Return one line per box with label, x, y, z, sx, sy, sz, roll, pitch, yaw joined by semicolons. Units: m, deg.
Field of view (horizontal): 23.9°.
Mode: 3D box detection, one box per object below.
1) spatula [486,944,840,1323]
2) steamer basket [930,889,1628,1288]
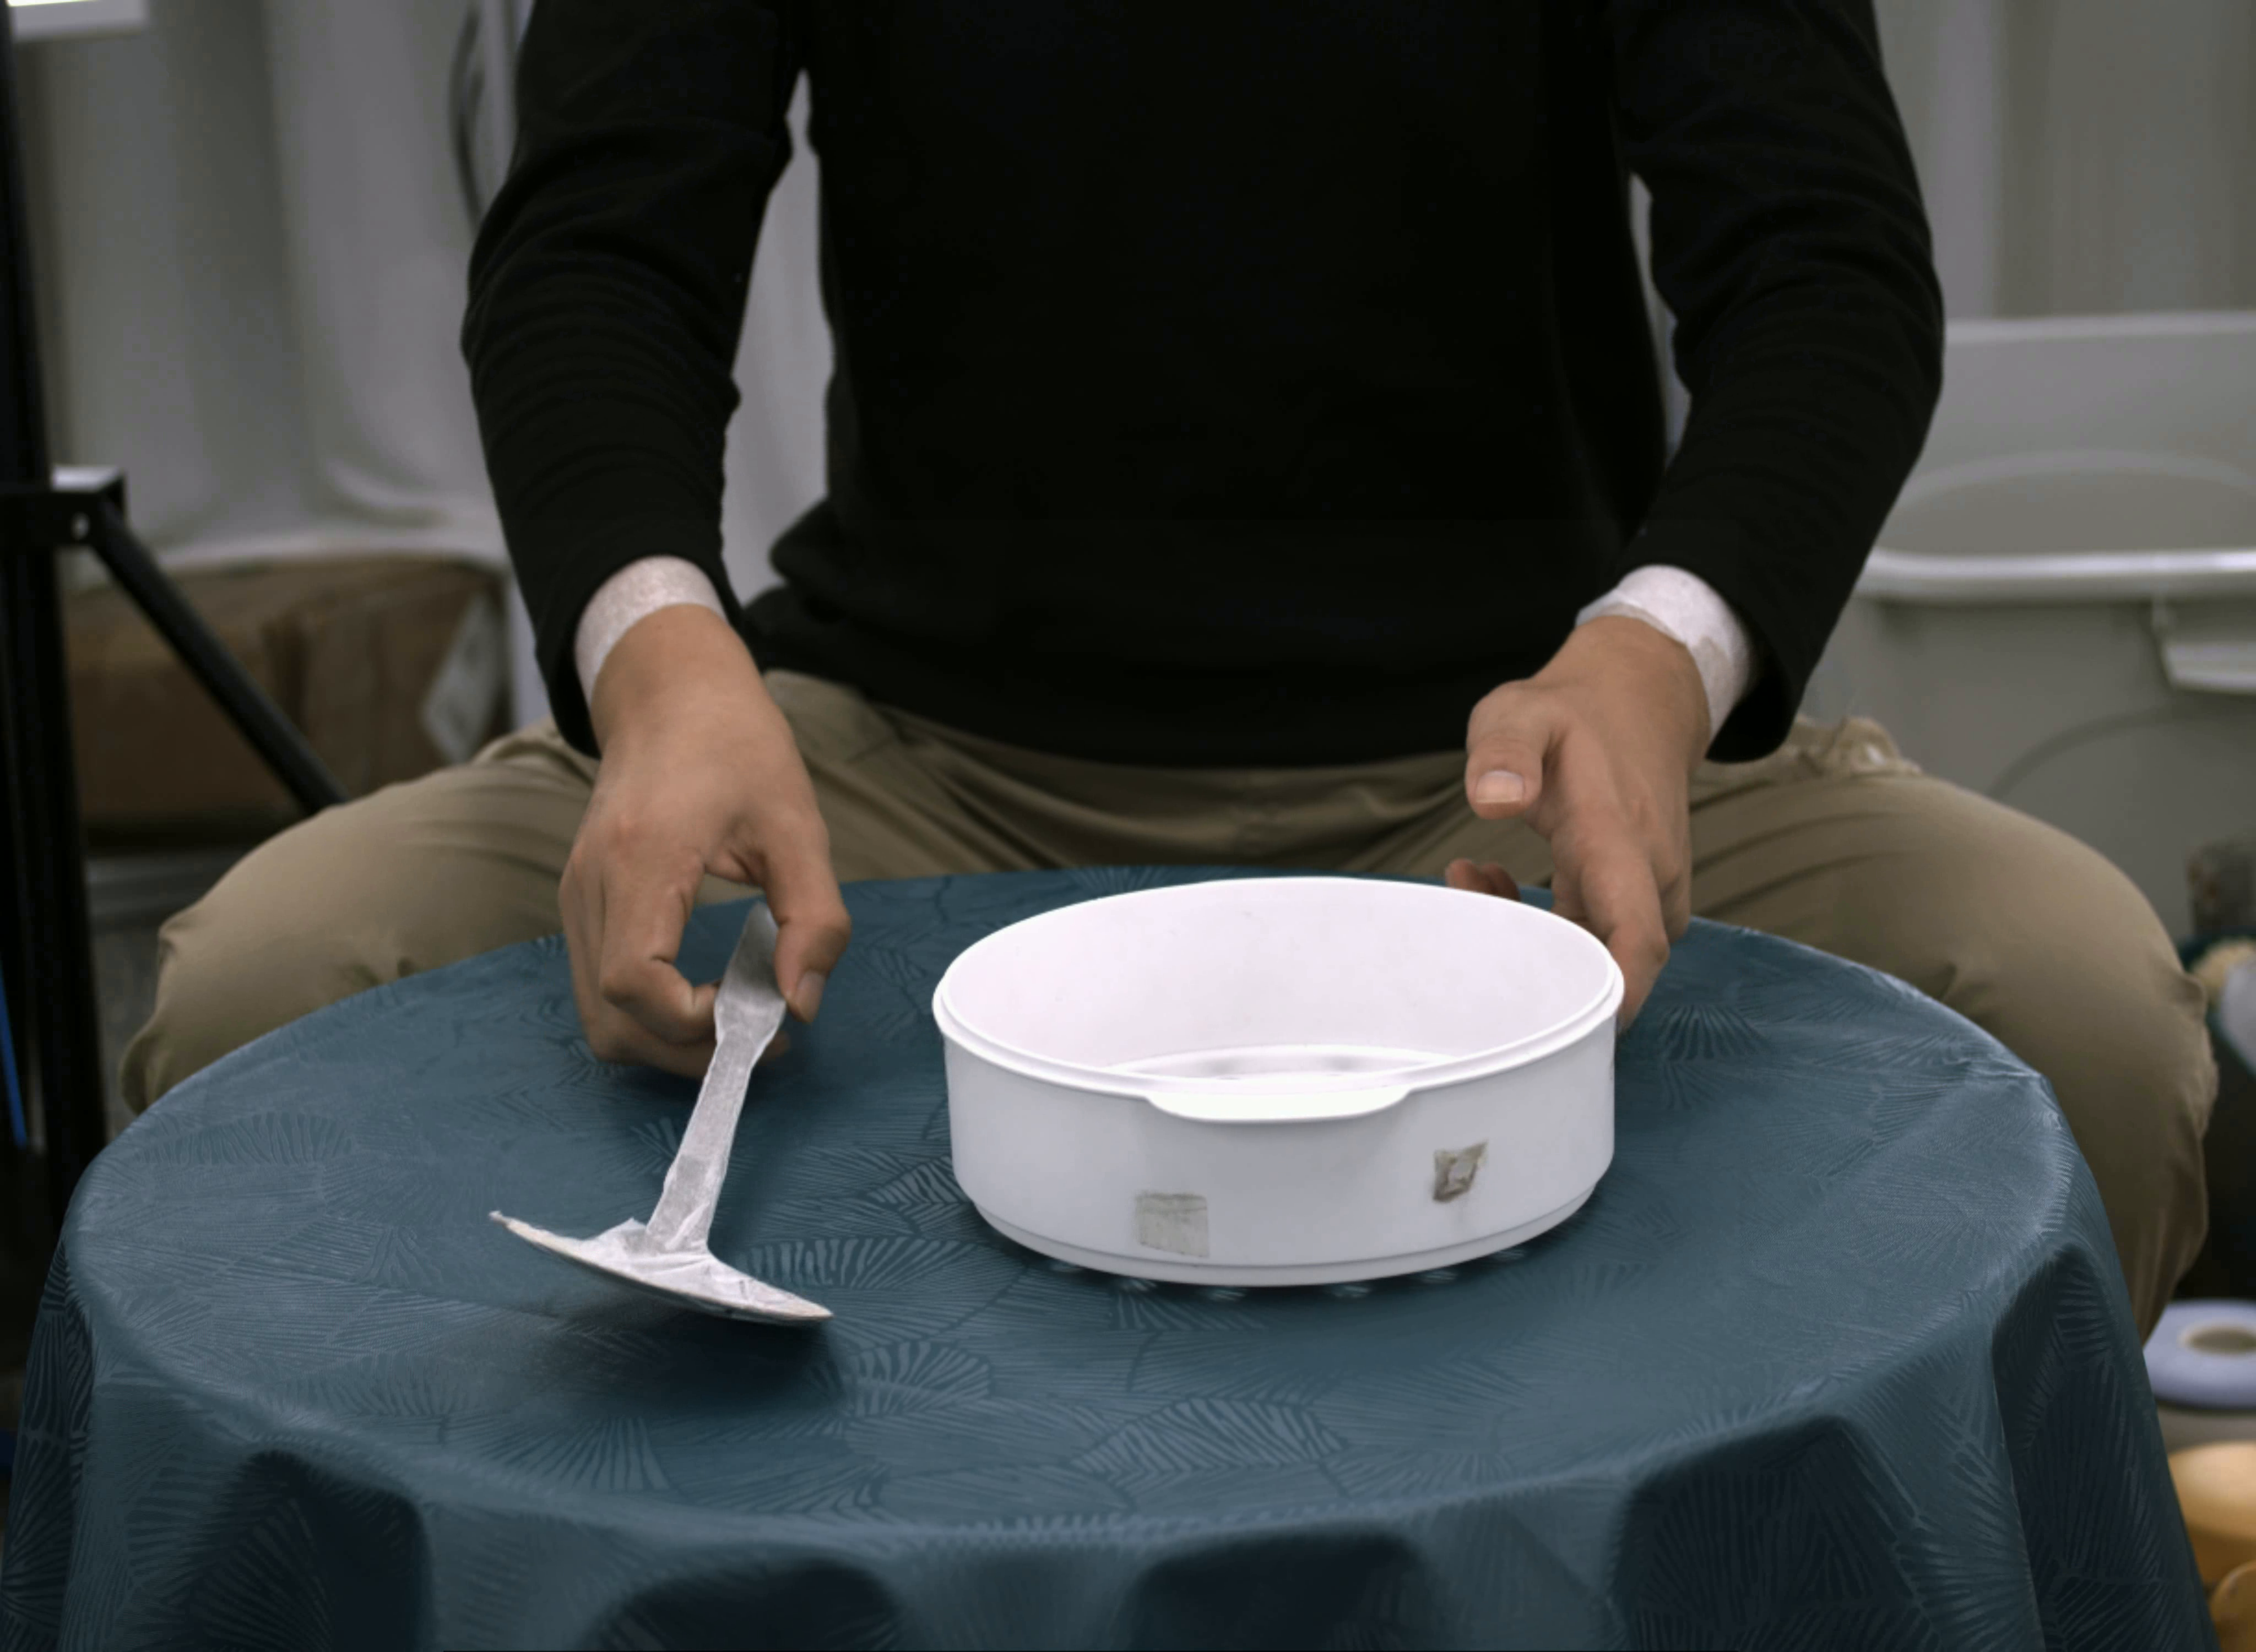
spatula;-0.116;0.080;1.575;0.098;0.045;0.365;13;19;0
steamer basket;0.044;0.075;1.538;0.201;0.069;0.231;0;14;3
